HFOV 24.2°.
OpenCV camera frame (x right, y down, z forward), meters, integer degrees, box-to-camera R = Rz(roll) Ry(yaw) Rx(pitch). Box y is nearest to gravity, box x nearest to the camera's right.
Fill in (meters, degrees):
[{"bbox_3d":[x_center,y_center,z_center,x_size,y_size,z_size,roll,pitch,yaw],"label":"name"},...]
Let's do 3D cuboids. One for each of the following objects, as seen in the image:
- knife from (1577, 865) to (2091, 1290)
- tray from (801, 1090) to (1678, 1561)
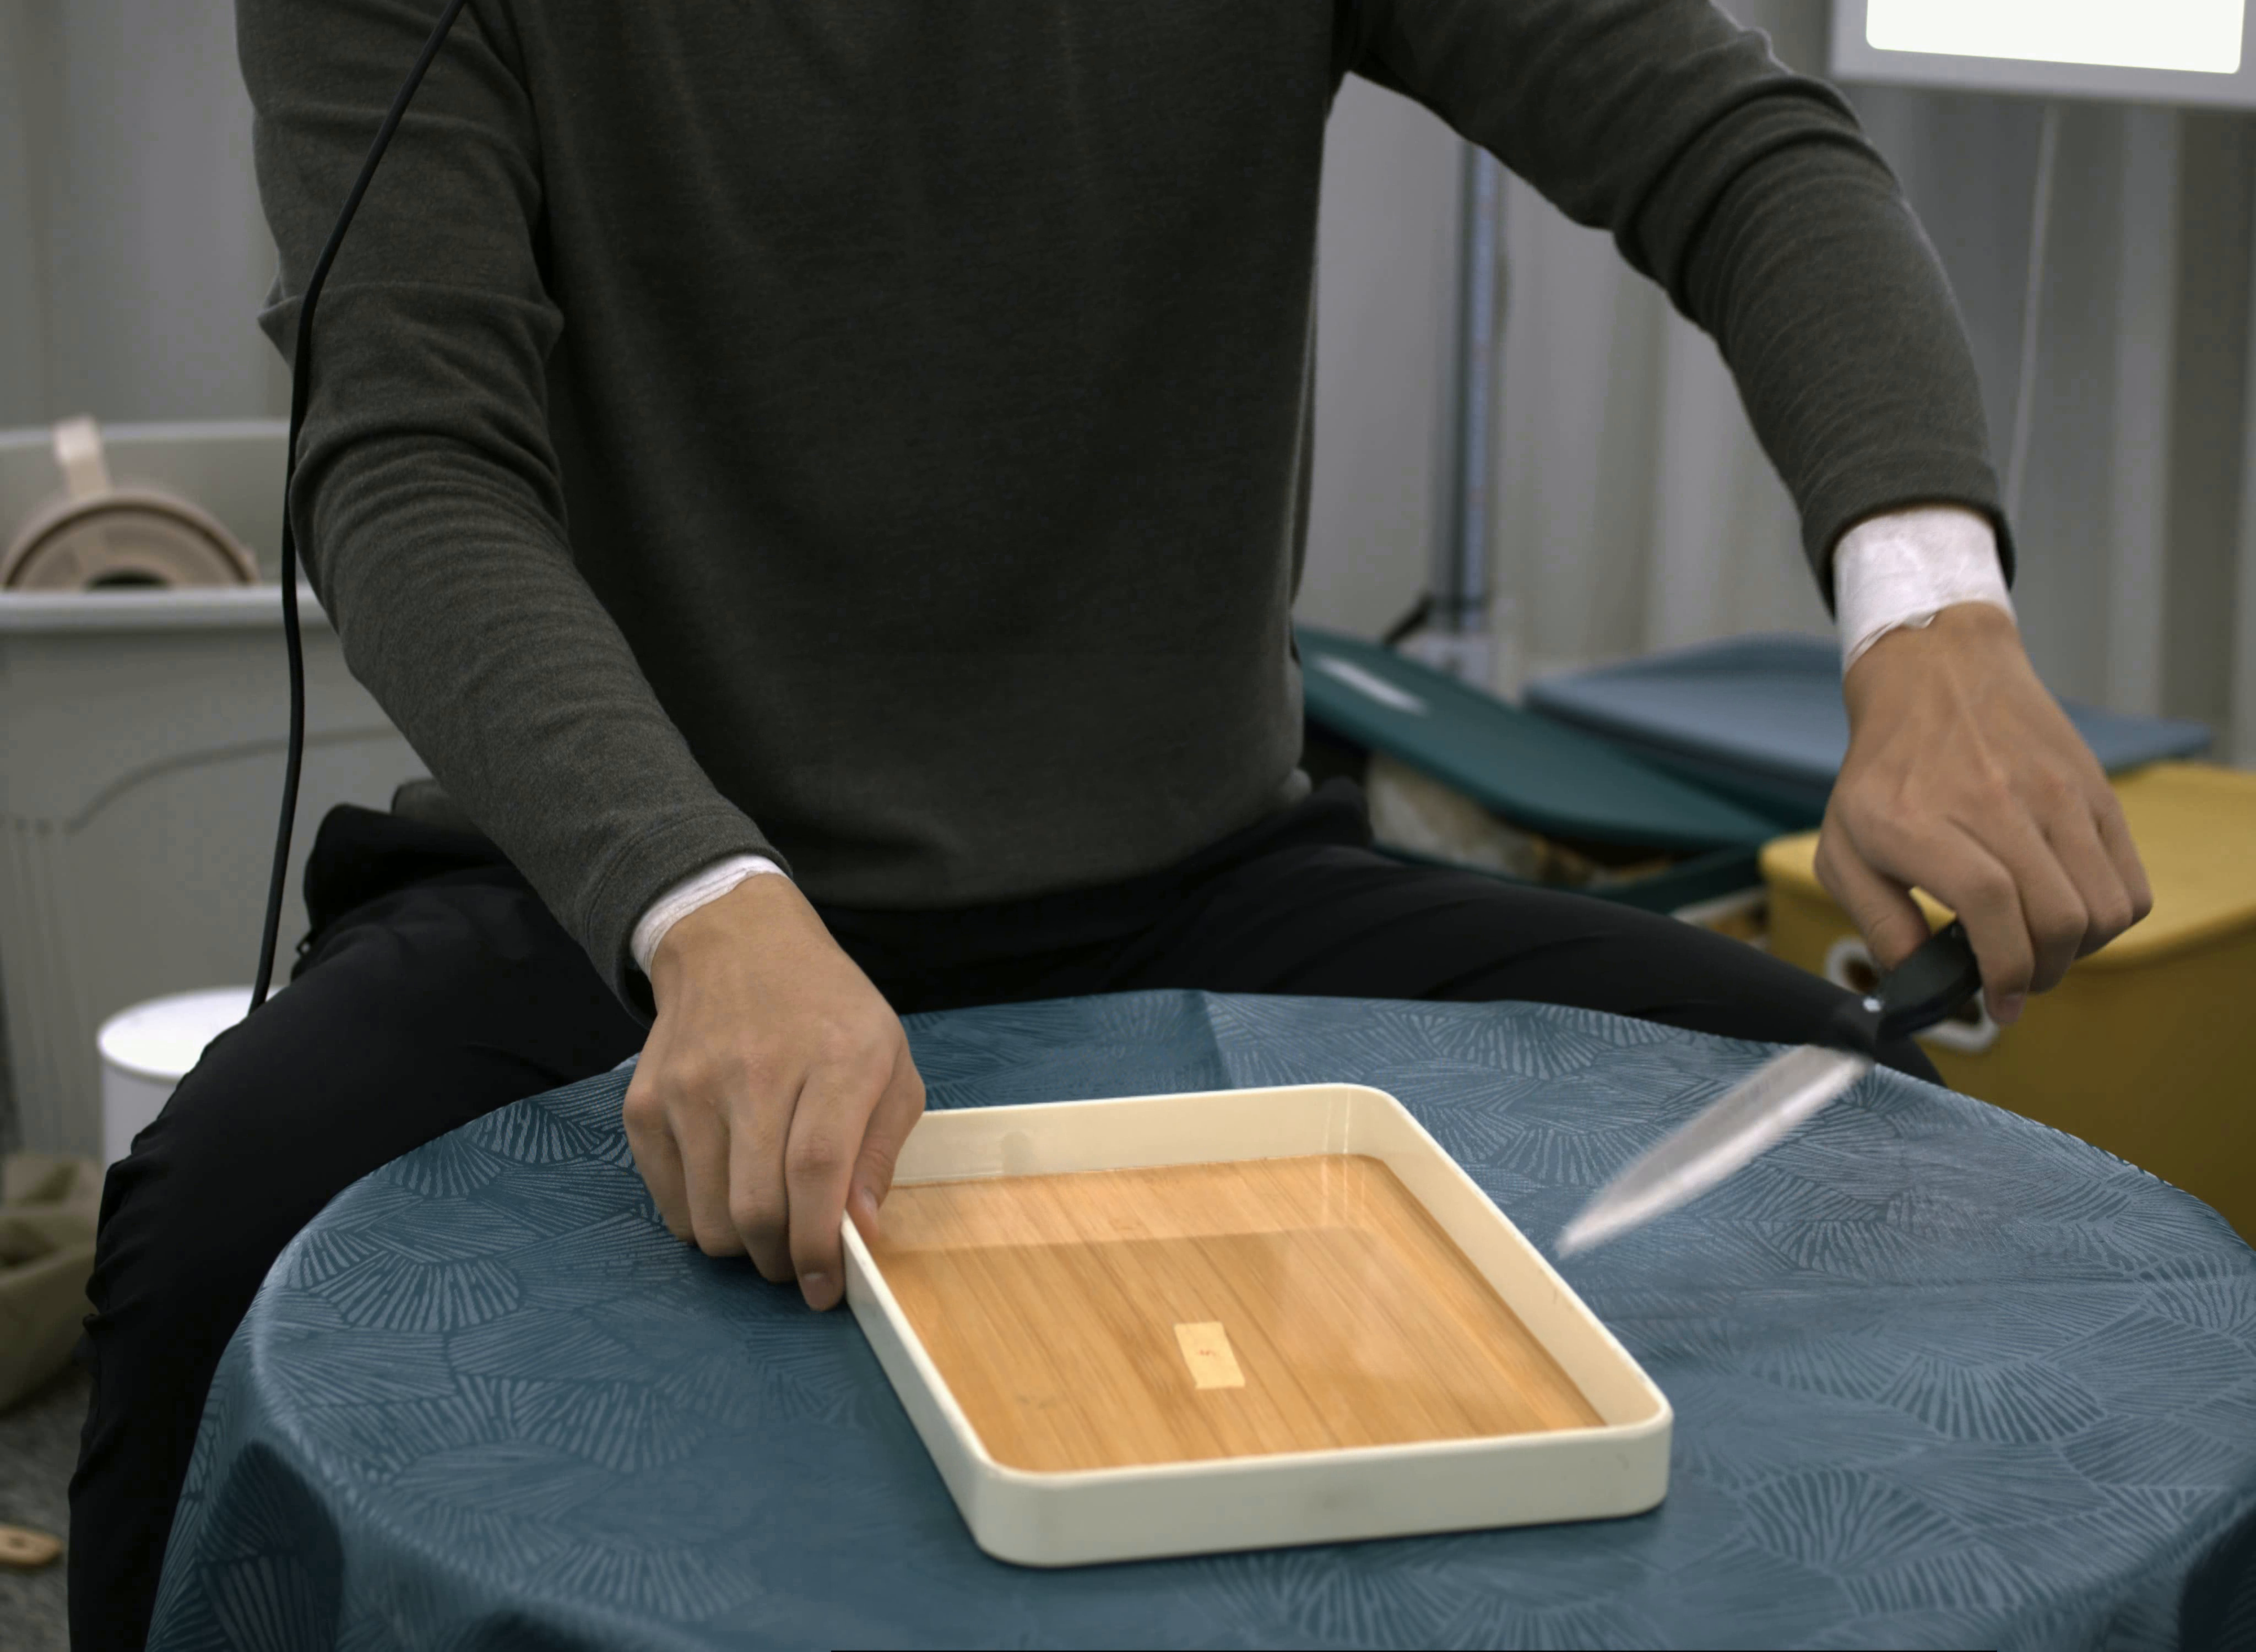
[{"bbox_3d":[0.205,0.072,1.543,0.024,0.016,0.238,29,48,34],"label":"knife"},{"bbox_3d":[0.023,0.136,1.492,0.192,0.027,0.297,-2,15,-13],"label":"tray"}]
